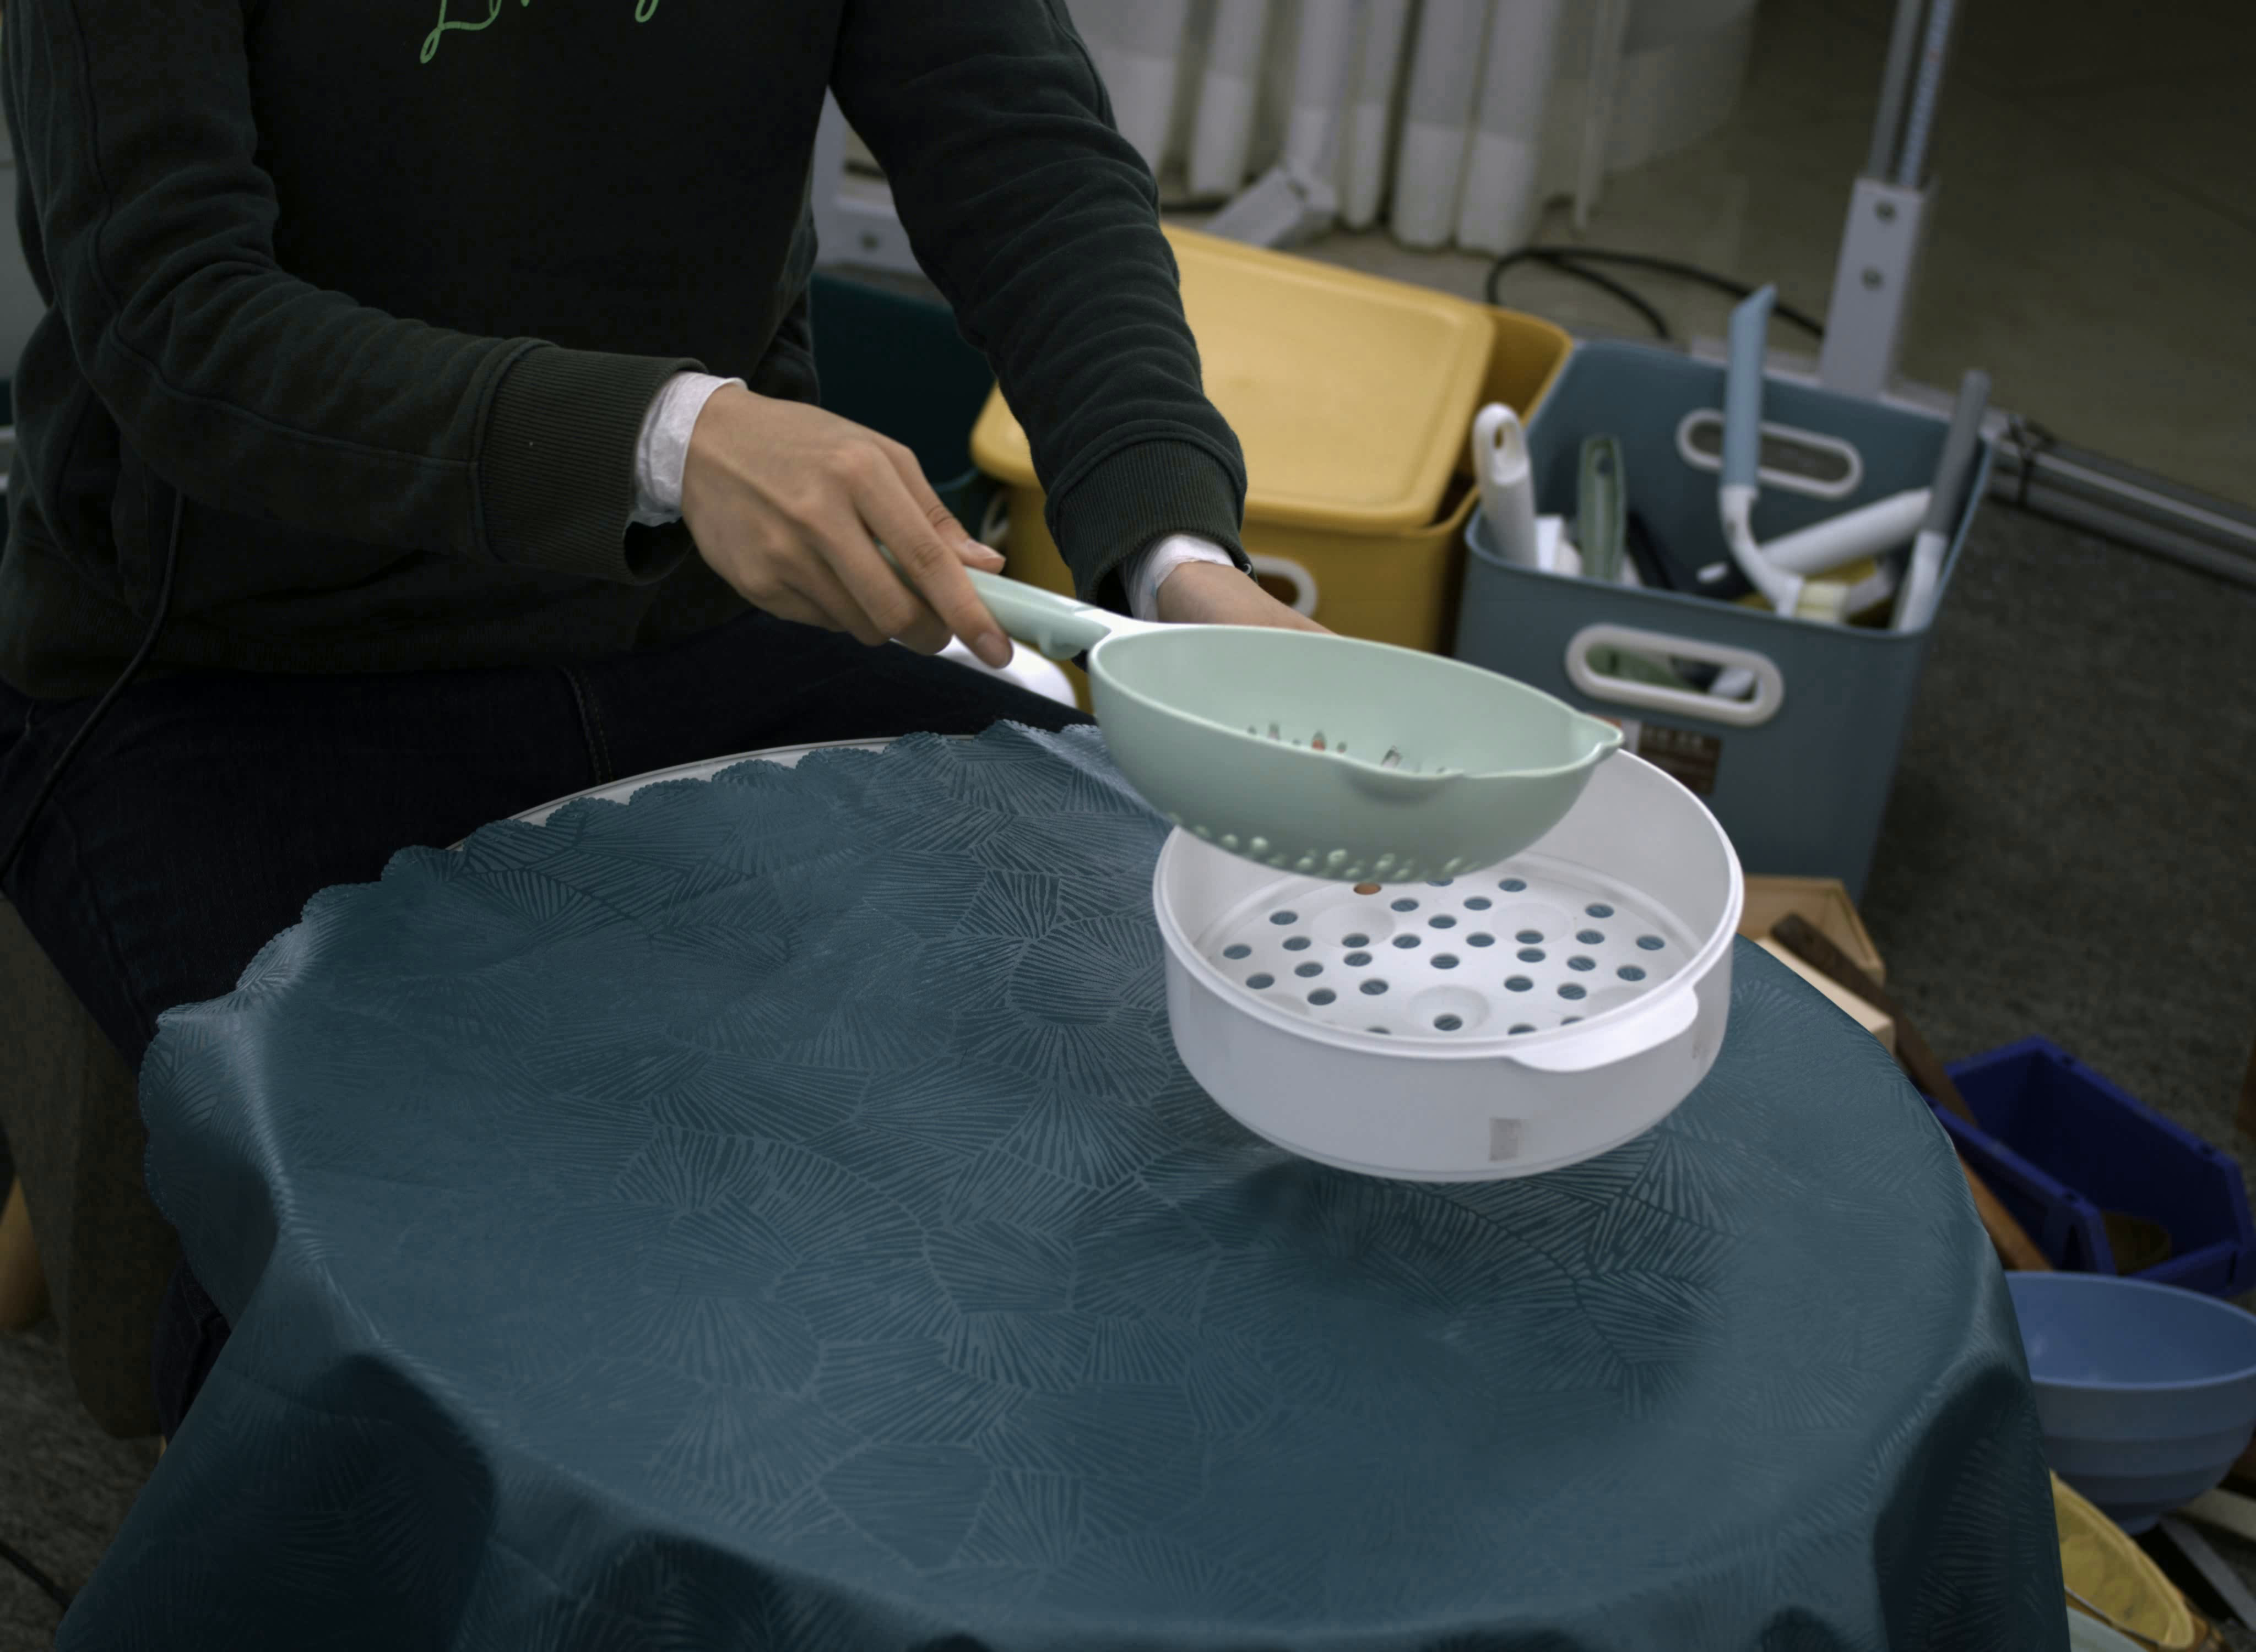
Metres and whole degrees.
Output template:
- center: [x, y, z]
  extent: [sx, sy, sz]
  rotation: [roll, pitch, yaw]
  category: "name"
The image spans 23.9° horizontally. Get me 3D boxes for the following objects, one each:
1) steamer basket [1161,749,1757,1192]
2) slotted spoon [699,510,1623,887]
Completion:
- center: [0.112, 0.047, 1.812]
  extent: [0.201, 0.069, 0.233]
  rotation: [-18, 36, -24]
  category: "steamer basket"
- center: [-0.008, -0.057, 1.784]
  extent: [0.361, 0.075, 0.168]
  rotation: [29, 22, 32]
  category: "slotted spoon"
